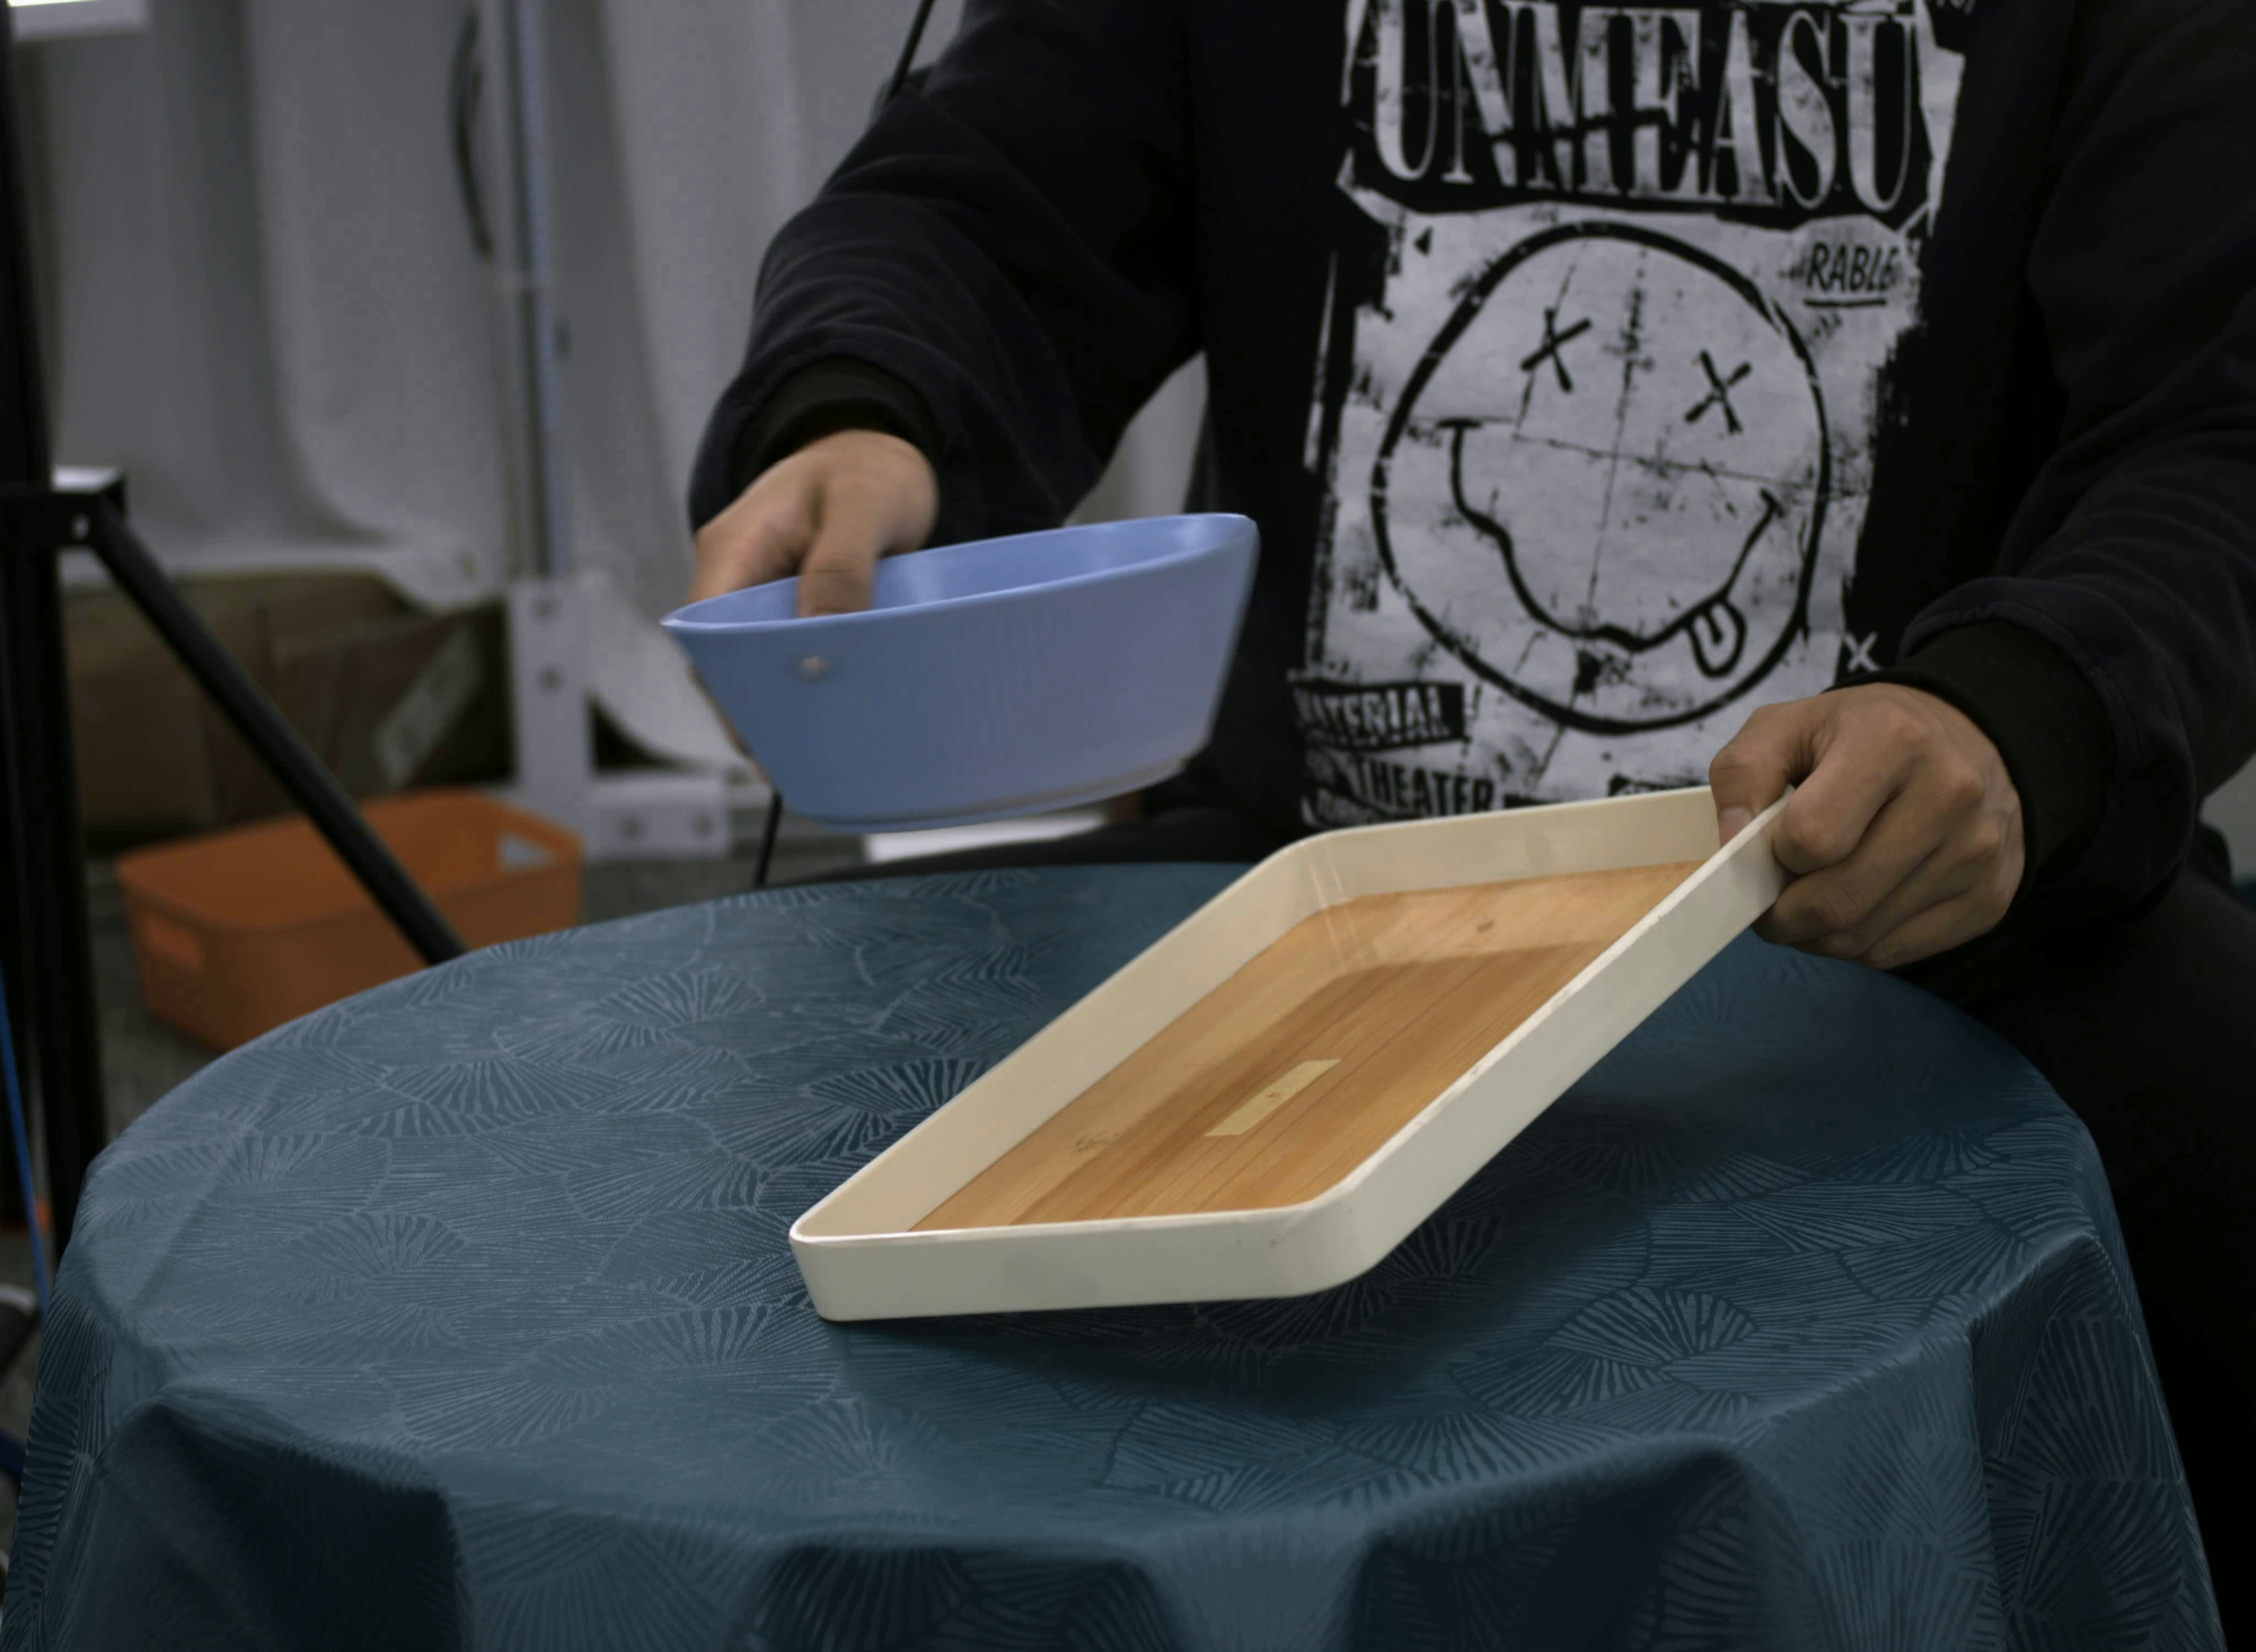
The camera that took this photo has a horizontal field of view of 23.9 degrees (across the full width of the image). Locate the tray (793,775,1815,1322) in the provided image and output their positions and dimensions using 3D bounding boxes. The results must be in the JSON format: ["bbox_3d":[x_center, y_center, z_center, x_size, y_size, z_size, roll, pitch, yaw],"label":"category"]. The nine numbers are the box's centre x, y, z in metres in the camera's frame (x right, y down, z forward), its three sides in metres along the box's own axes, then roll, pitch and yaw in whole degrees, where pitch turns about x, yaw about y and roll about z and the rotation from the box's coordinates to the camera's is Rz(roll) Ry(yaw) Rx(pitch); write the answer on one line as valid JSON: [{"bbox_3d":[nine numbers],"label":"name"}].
[{"bbox_3d":[0.057,0.062,1.522,0.195,0.027,0.296,-7,19,37],"label":"tray"}]

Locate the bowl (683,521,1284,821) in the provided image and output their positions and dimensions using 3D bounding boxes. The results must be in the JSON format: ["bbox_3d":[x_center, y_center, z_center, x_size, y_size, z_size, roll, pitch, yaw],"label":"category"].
[{"bbox_3d":[-0.038,-0.044,1.545,0.175,0.070,0.176,-7,8,0],"label":"bowl"}]
